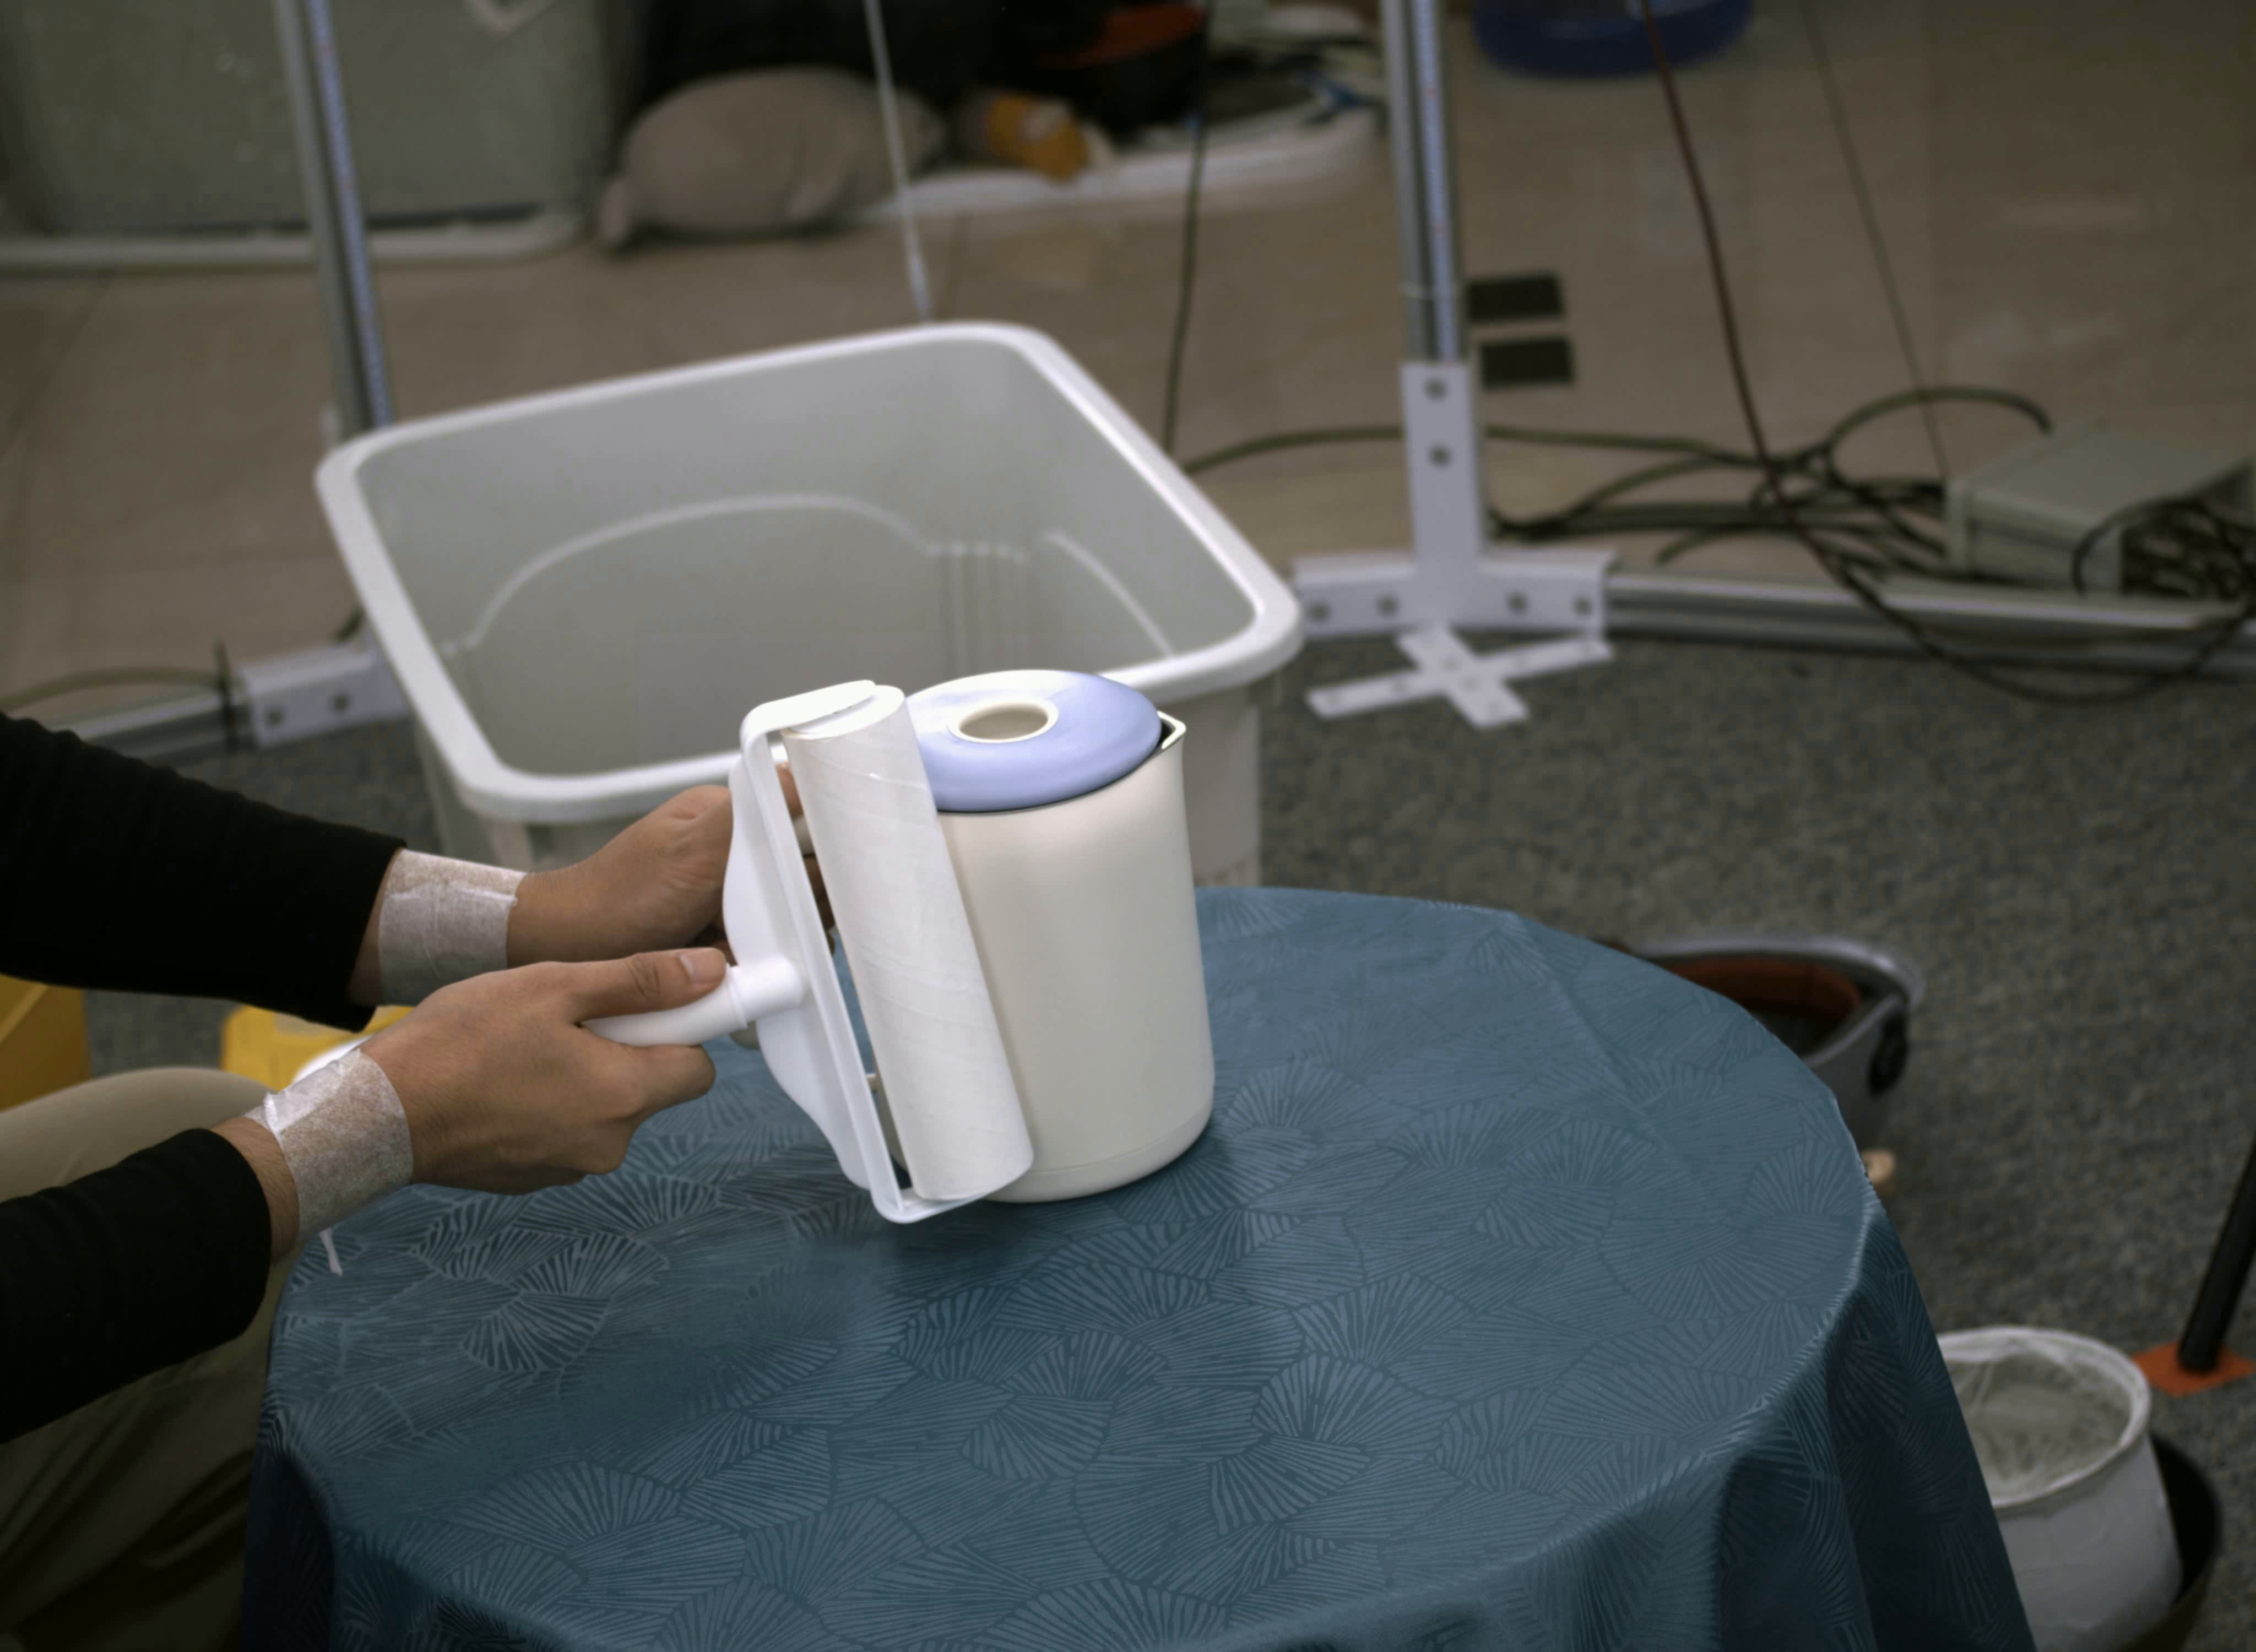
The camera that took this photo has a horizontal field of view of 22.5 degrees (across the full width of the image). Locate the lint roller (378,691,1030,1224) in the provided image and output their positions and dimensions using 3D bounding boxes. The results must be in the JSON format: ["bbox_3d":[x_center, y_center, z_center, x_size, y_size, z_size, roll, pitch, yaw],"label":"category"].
[{"bbox_3d":[-0.166,0.070,2.071,0.225,0.206,0.047,-16,23,0],"label":"lint roller"}]

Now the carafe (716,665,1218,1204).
[{"bbox_3d":[-0.062,0.044,2.161,0.191,0.185,0.130,-9,25,0],"label":"carafe"}]
